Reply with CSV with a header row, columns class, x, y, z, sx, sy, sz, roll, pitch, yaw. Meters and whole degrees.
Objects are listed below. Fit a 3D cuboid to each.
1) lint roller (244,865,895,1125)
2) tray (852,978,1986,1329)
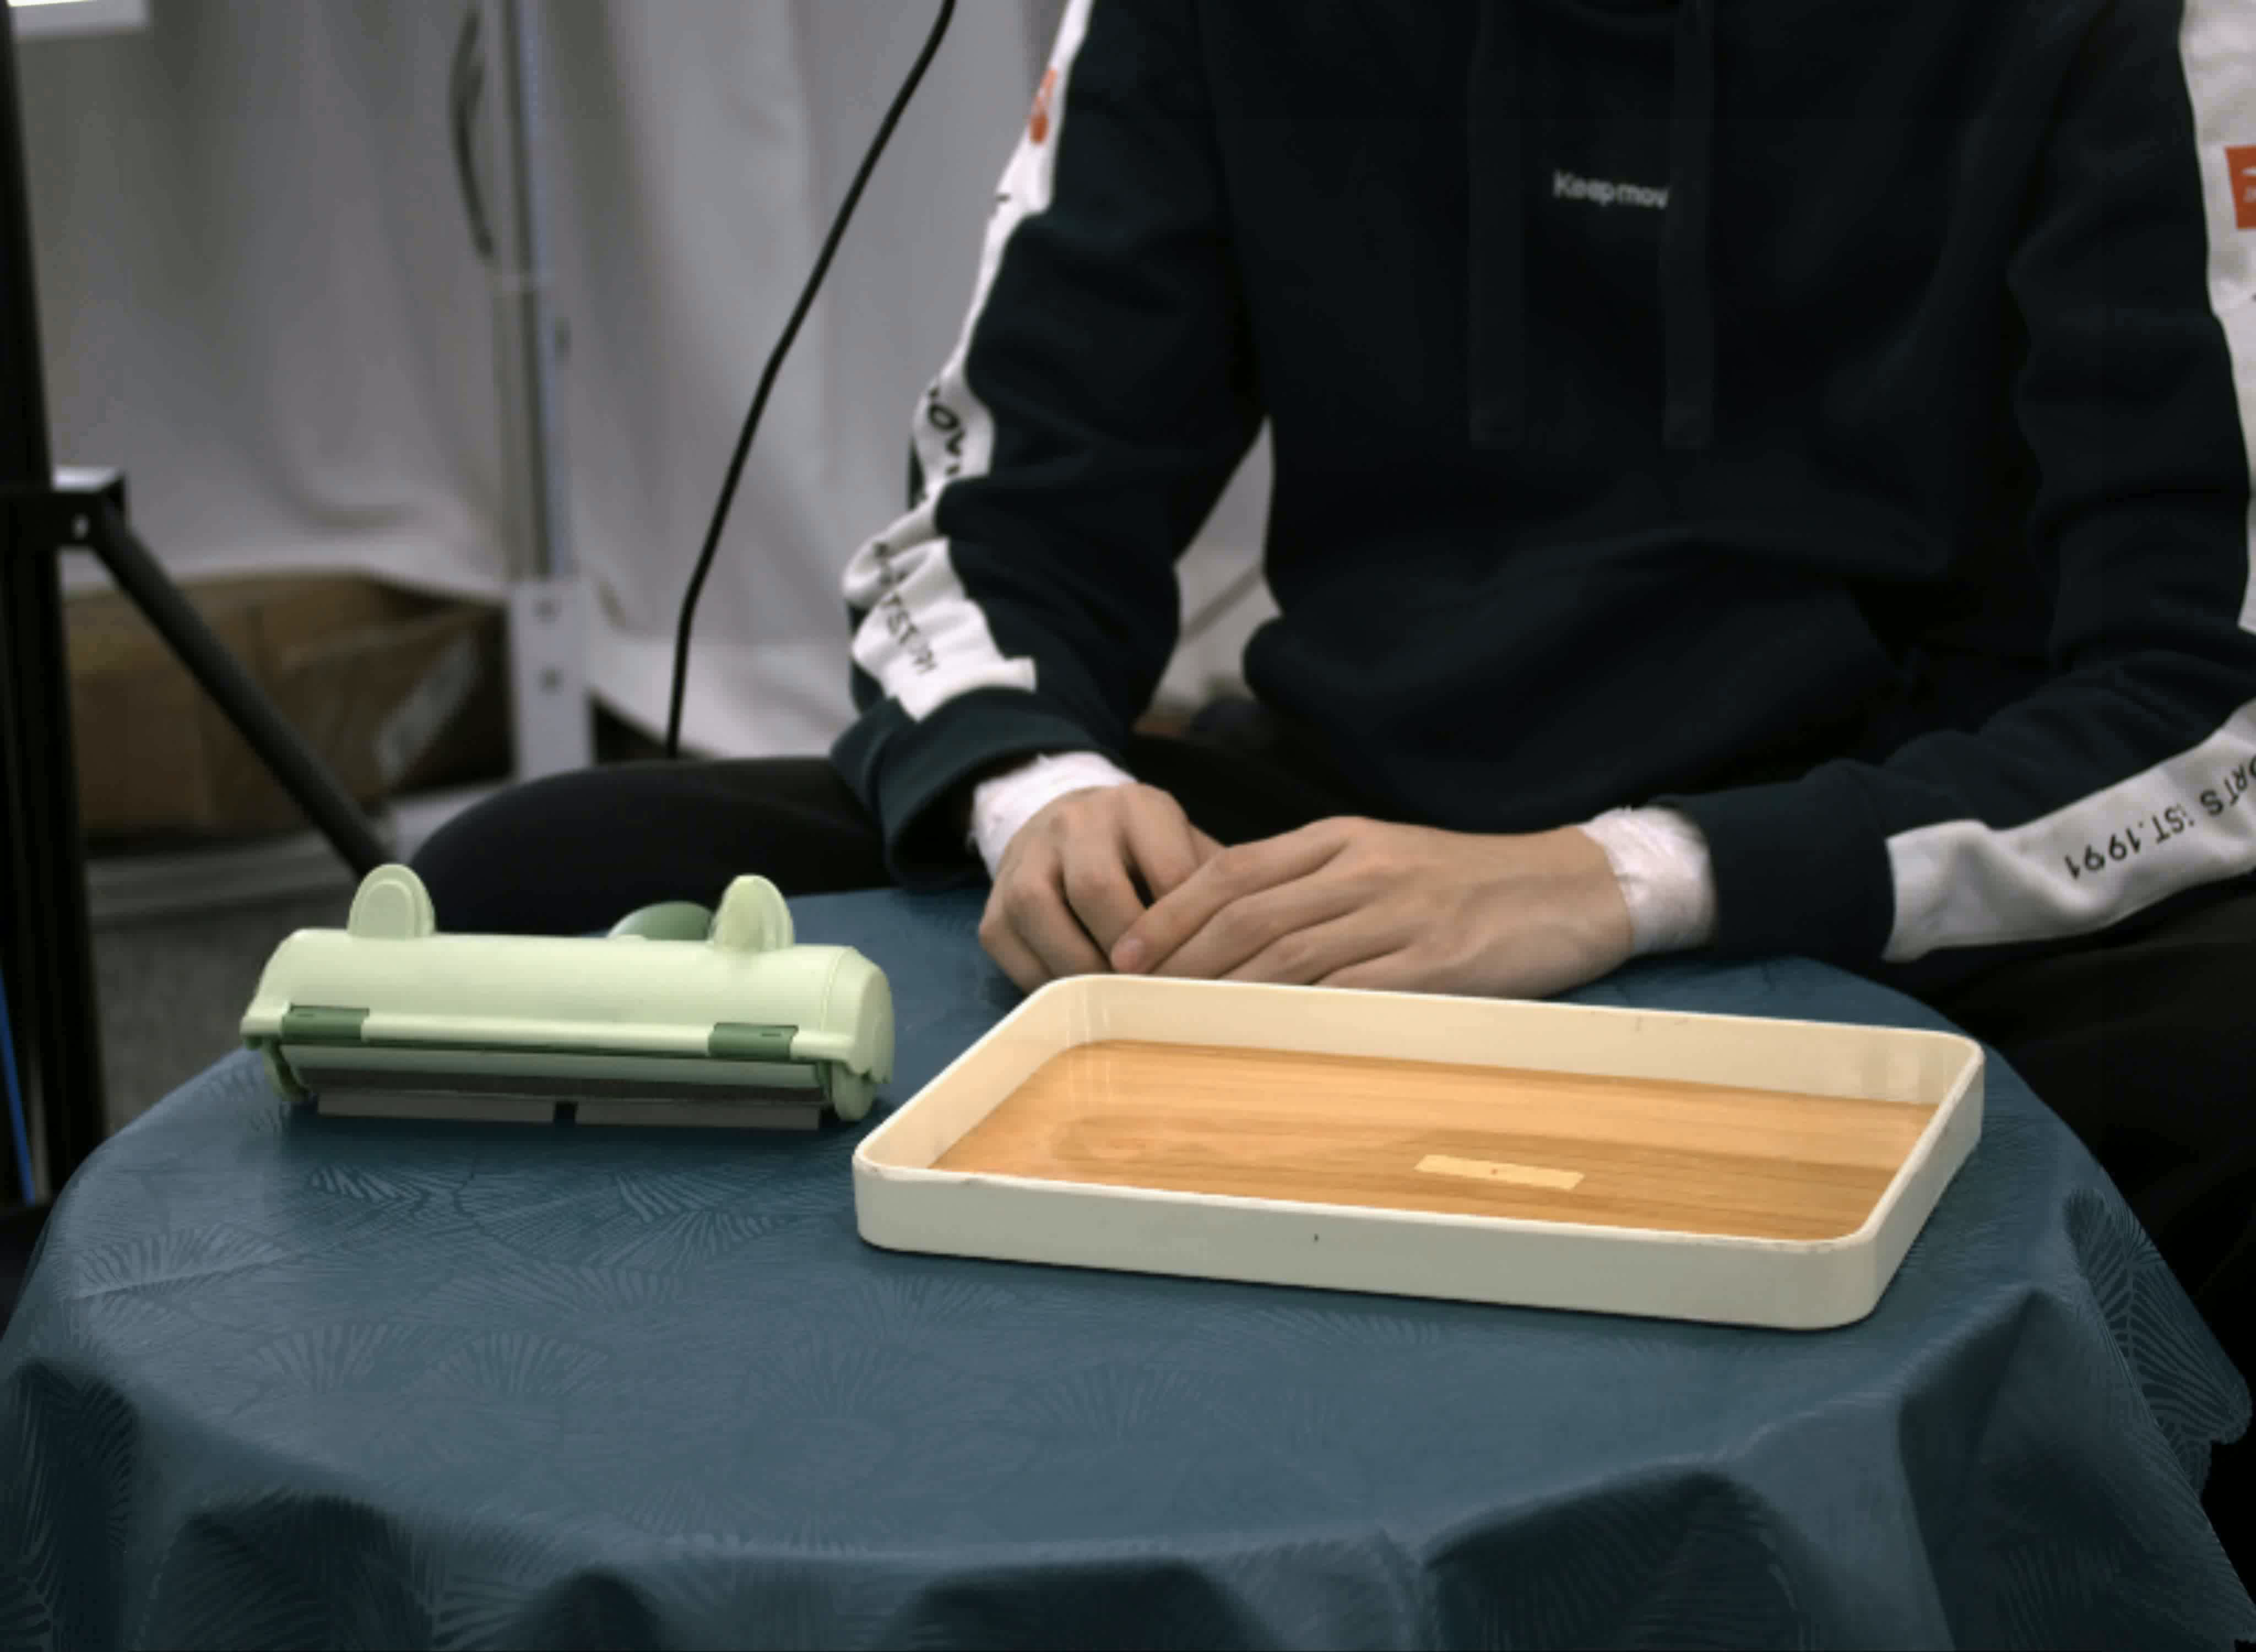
class,x,y,z,sx,sy,sz,roll,pitch,yaw
lint roller,-0.161,0.036,1.699,0.200,0.082,0.182,1,21,14
tray,0.088,0.093,1.547,0.304,0.027,0.189,4,17,21
